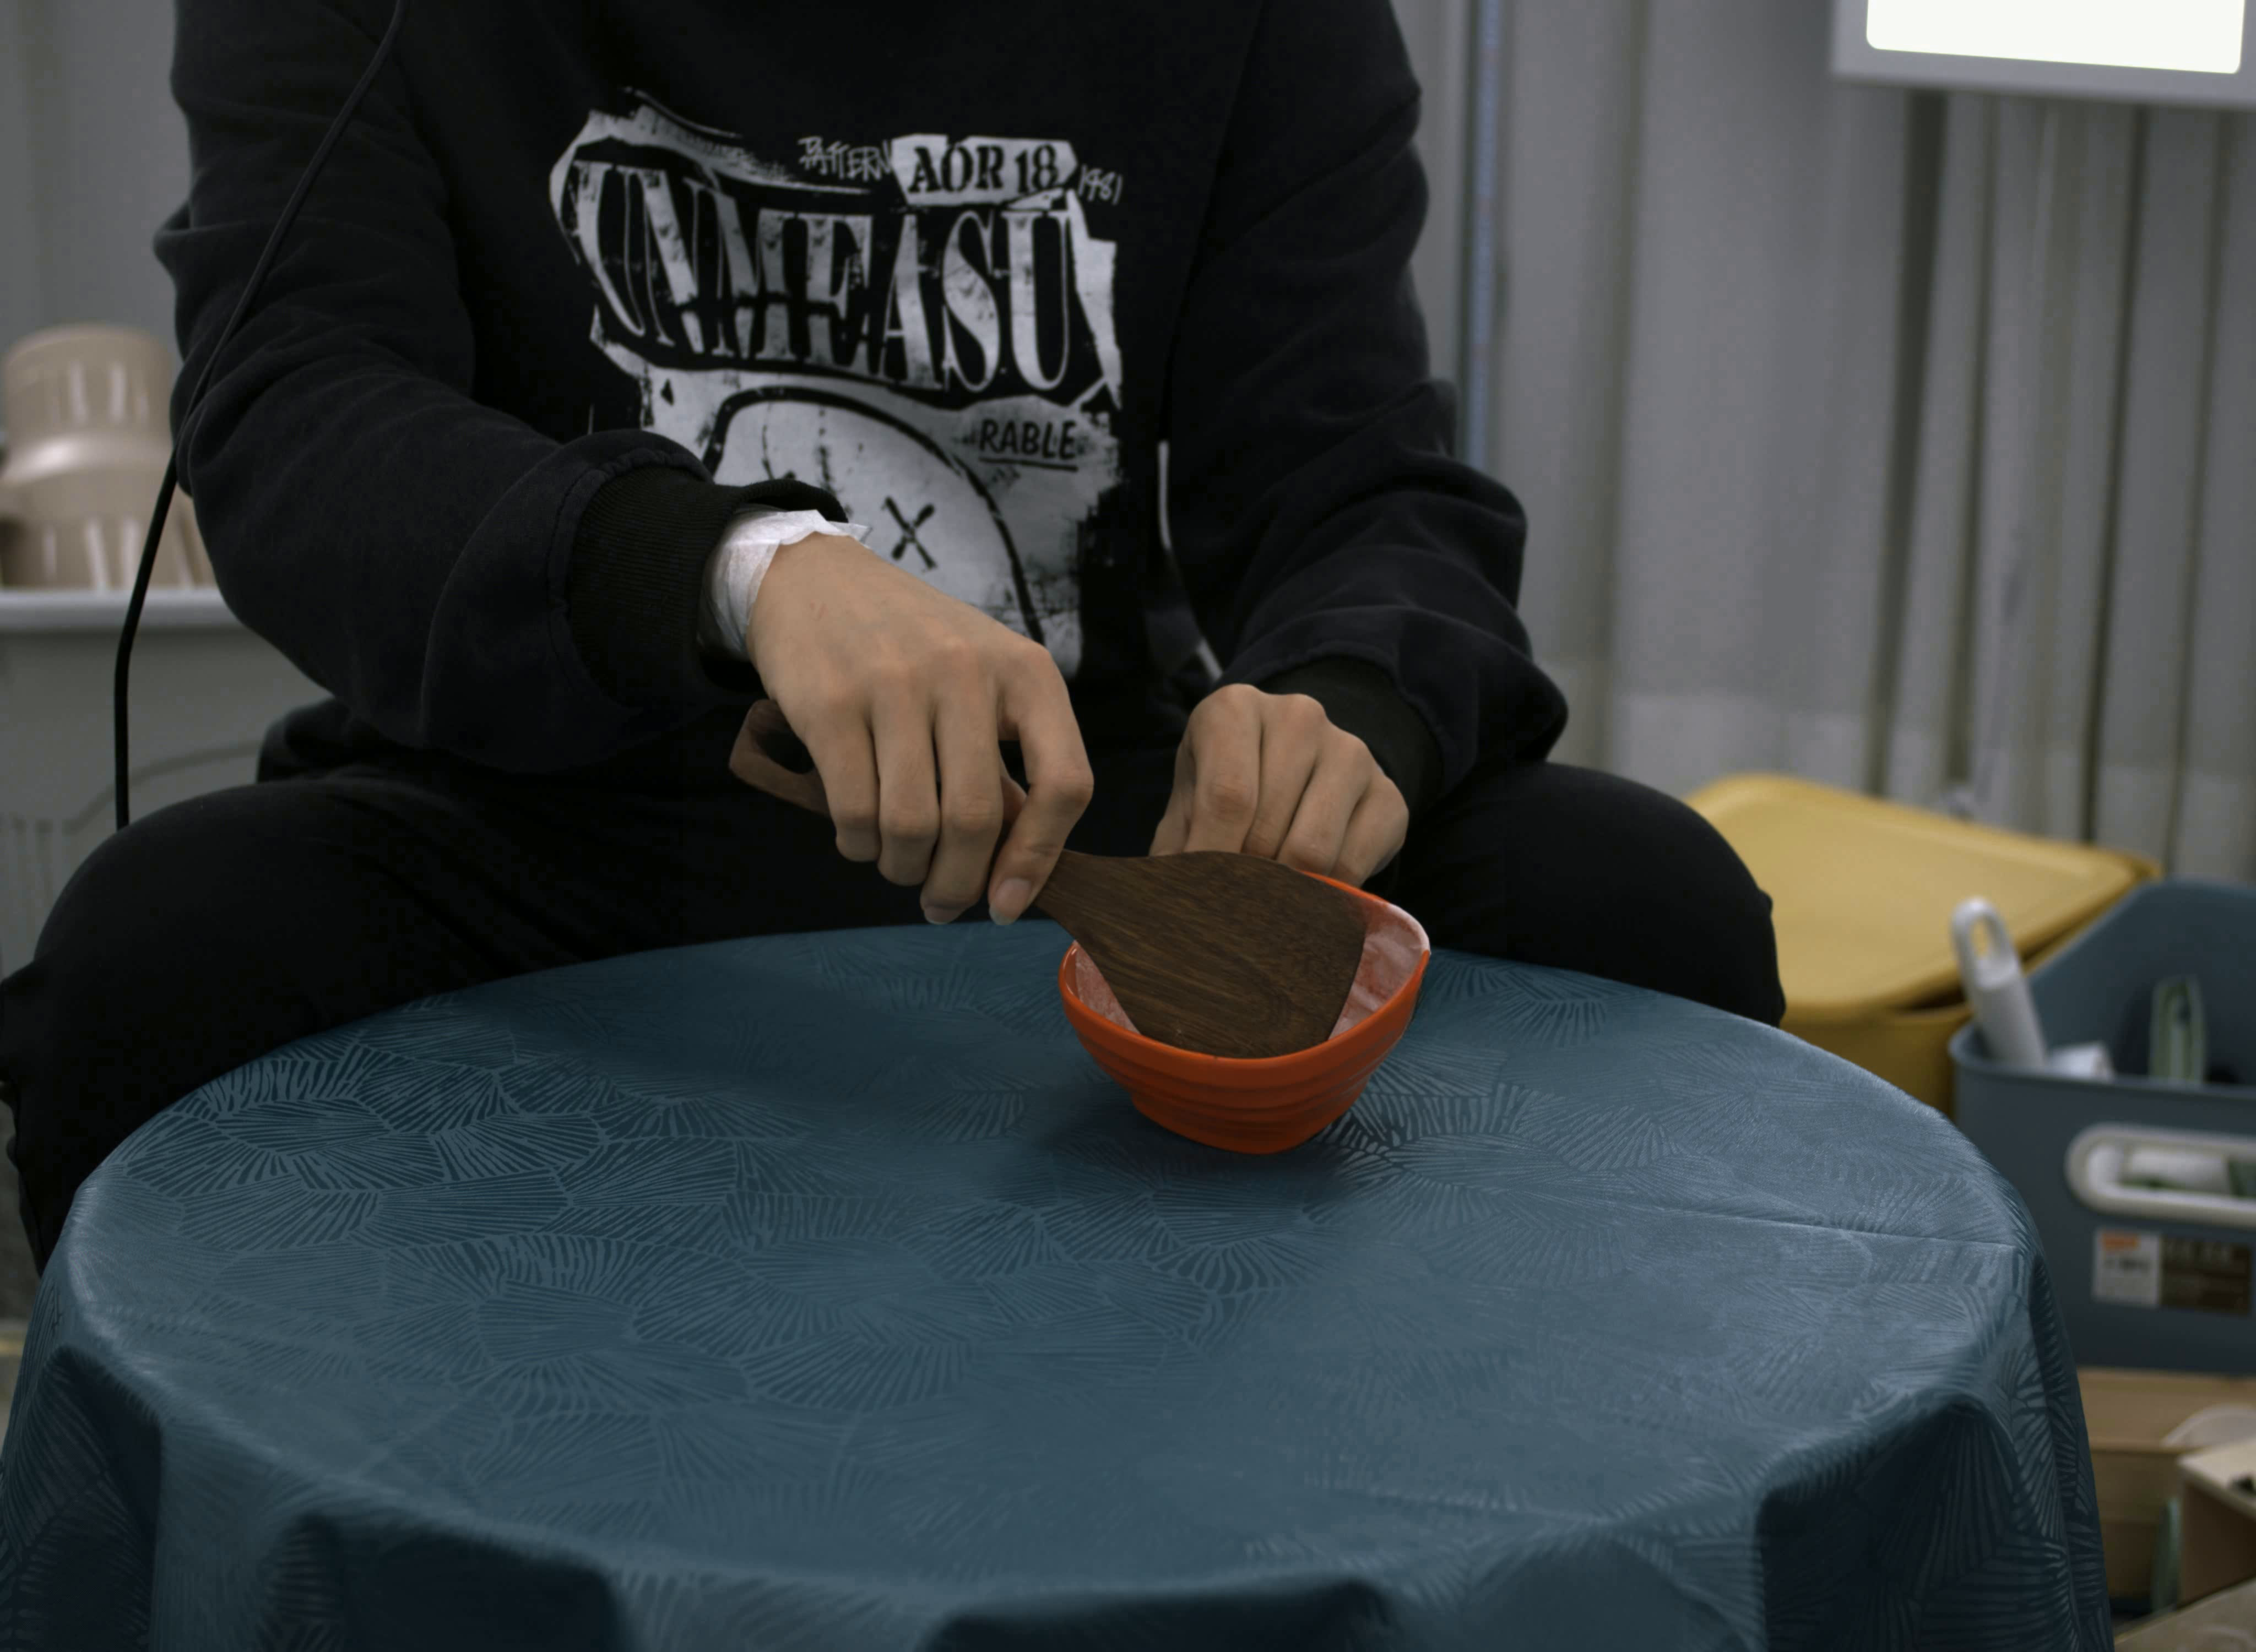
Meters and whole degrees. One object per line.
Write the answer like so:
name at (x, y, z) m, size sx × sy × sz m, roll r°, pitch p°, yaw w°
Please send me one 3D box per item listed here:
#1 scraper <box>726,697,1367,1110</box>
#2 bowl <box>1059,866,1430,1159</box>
scraper at (-0.029, 0.014, 1.648) m, size 0.210 × 0.076 × 0.011 m, roll 26°, pitch 1°, yaw 4°
bowl at (0.038, 0.064, 1.680) m, size 0.118 × 0.052 × 0.118 m, roll -3°, pitch 33°, yaw 2°
